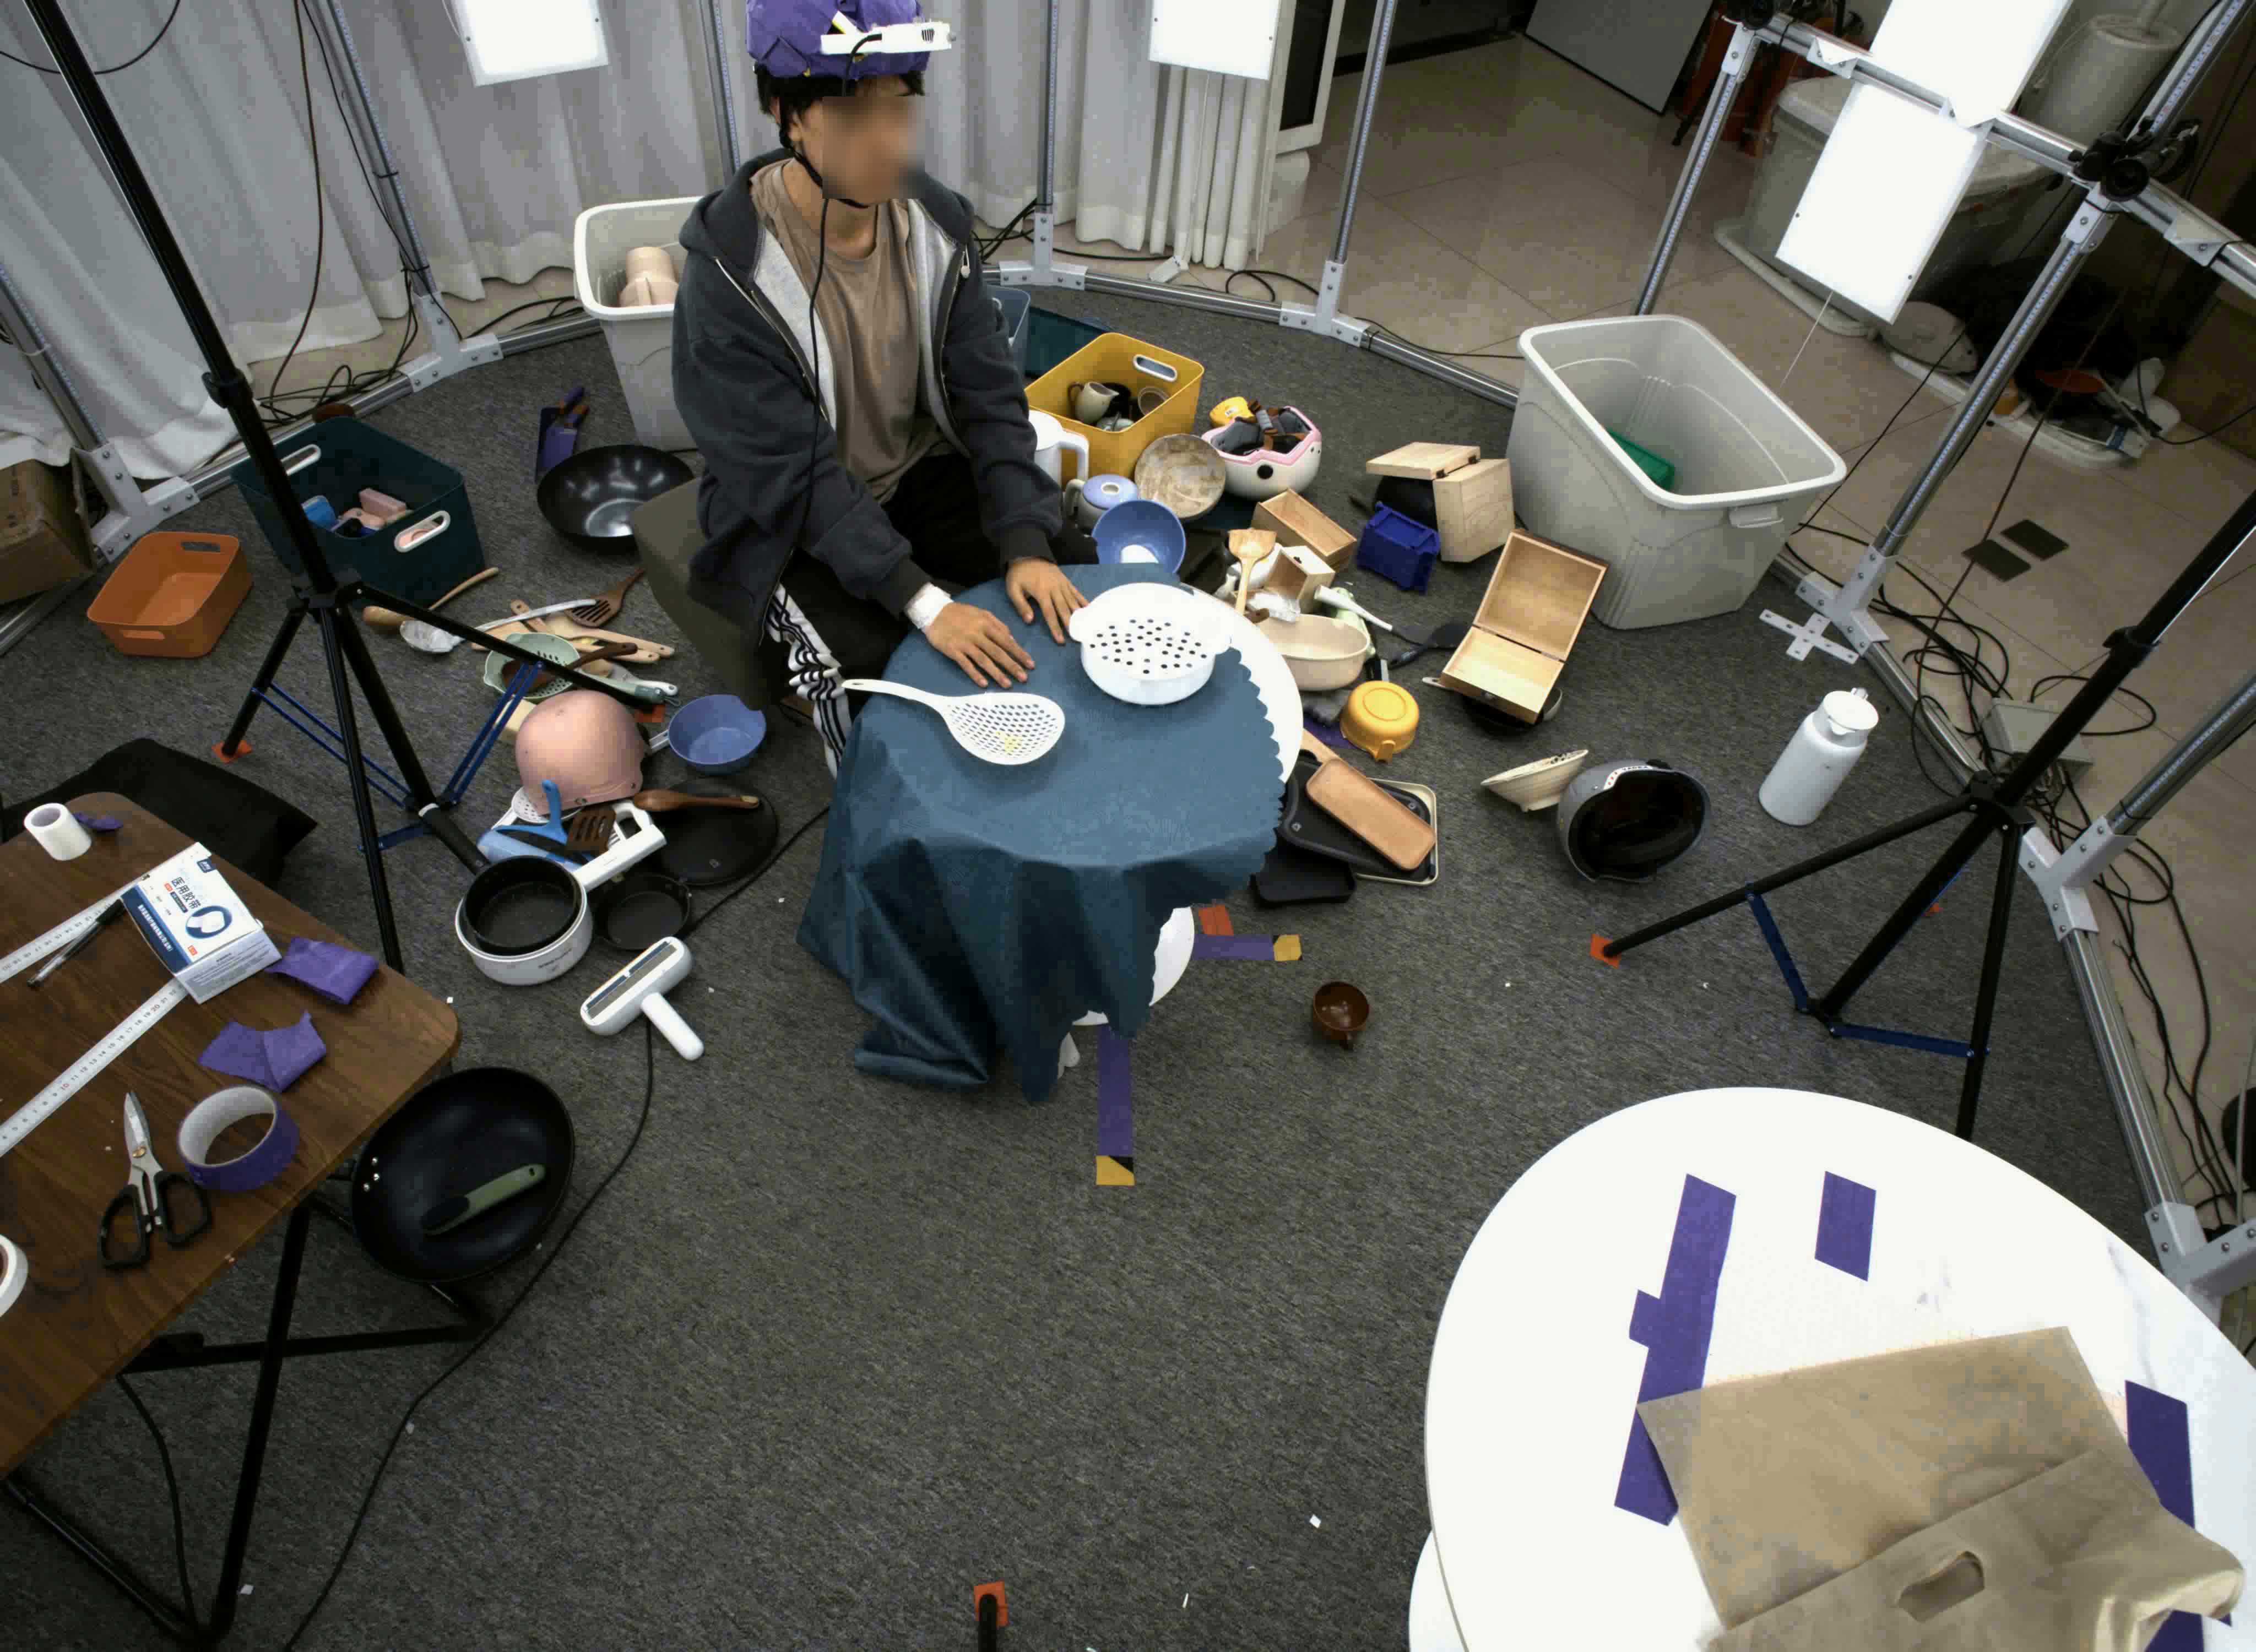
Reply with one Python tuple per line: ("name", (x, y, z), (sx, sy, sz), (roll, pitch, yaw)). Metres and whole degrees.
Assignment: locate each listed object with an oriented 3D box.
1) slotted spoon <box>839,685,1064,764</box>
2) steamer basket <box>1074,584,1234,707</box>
("slotted spoon", (-0.251, -0.159, 1.771), (0.350, 0.049, 0.139), (19, 55, 19))
("steamer basket", (0.035, -0.261, 1.852), (0.230, 0.067, 0.207), (6, 48, -1))
